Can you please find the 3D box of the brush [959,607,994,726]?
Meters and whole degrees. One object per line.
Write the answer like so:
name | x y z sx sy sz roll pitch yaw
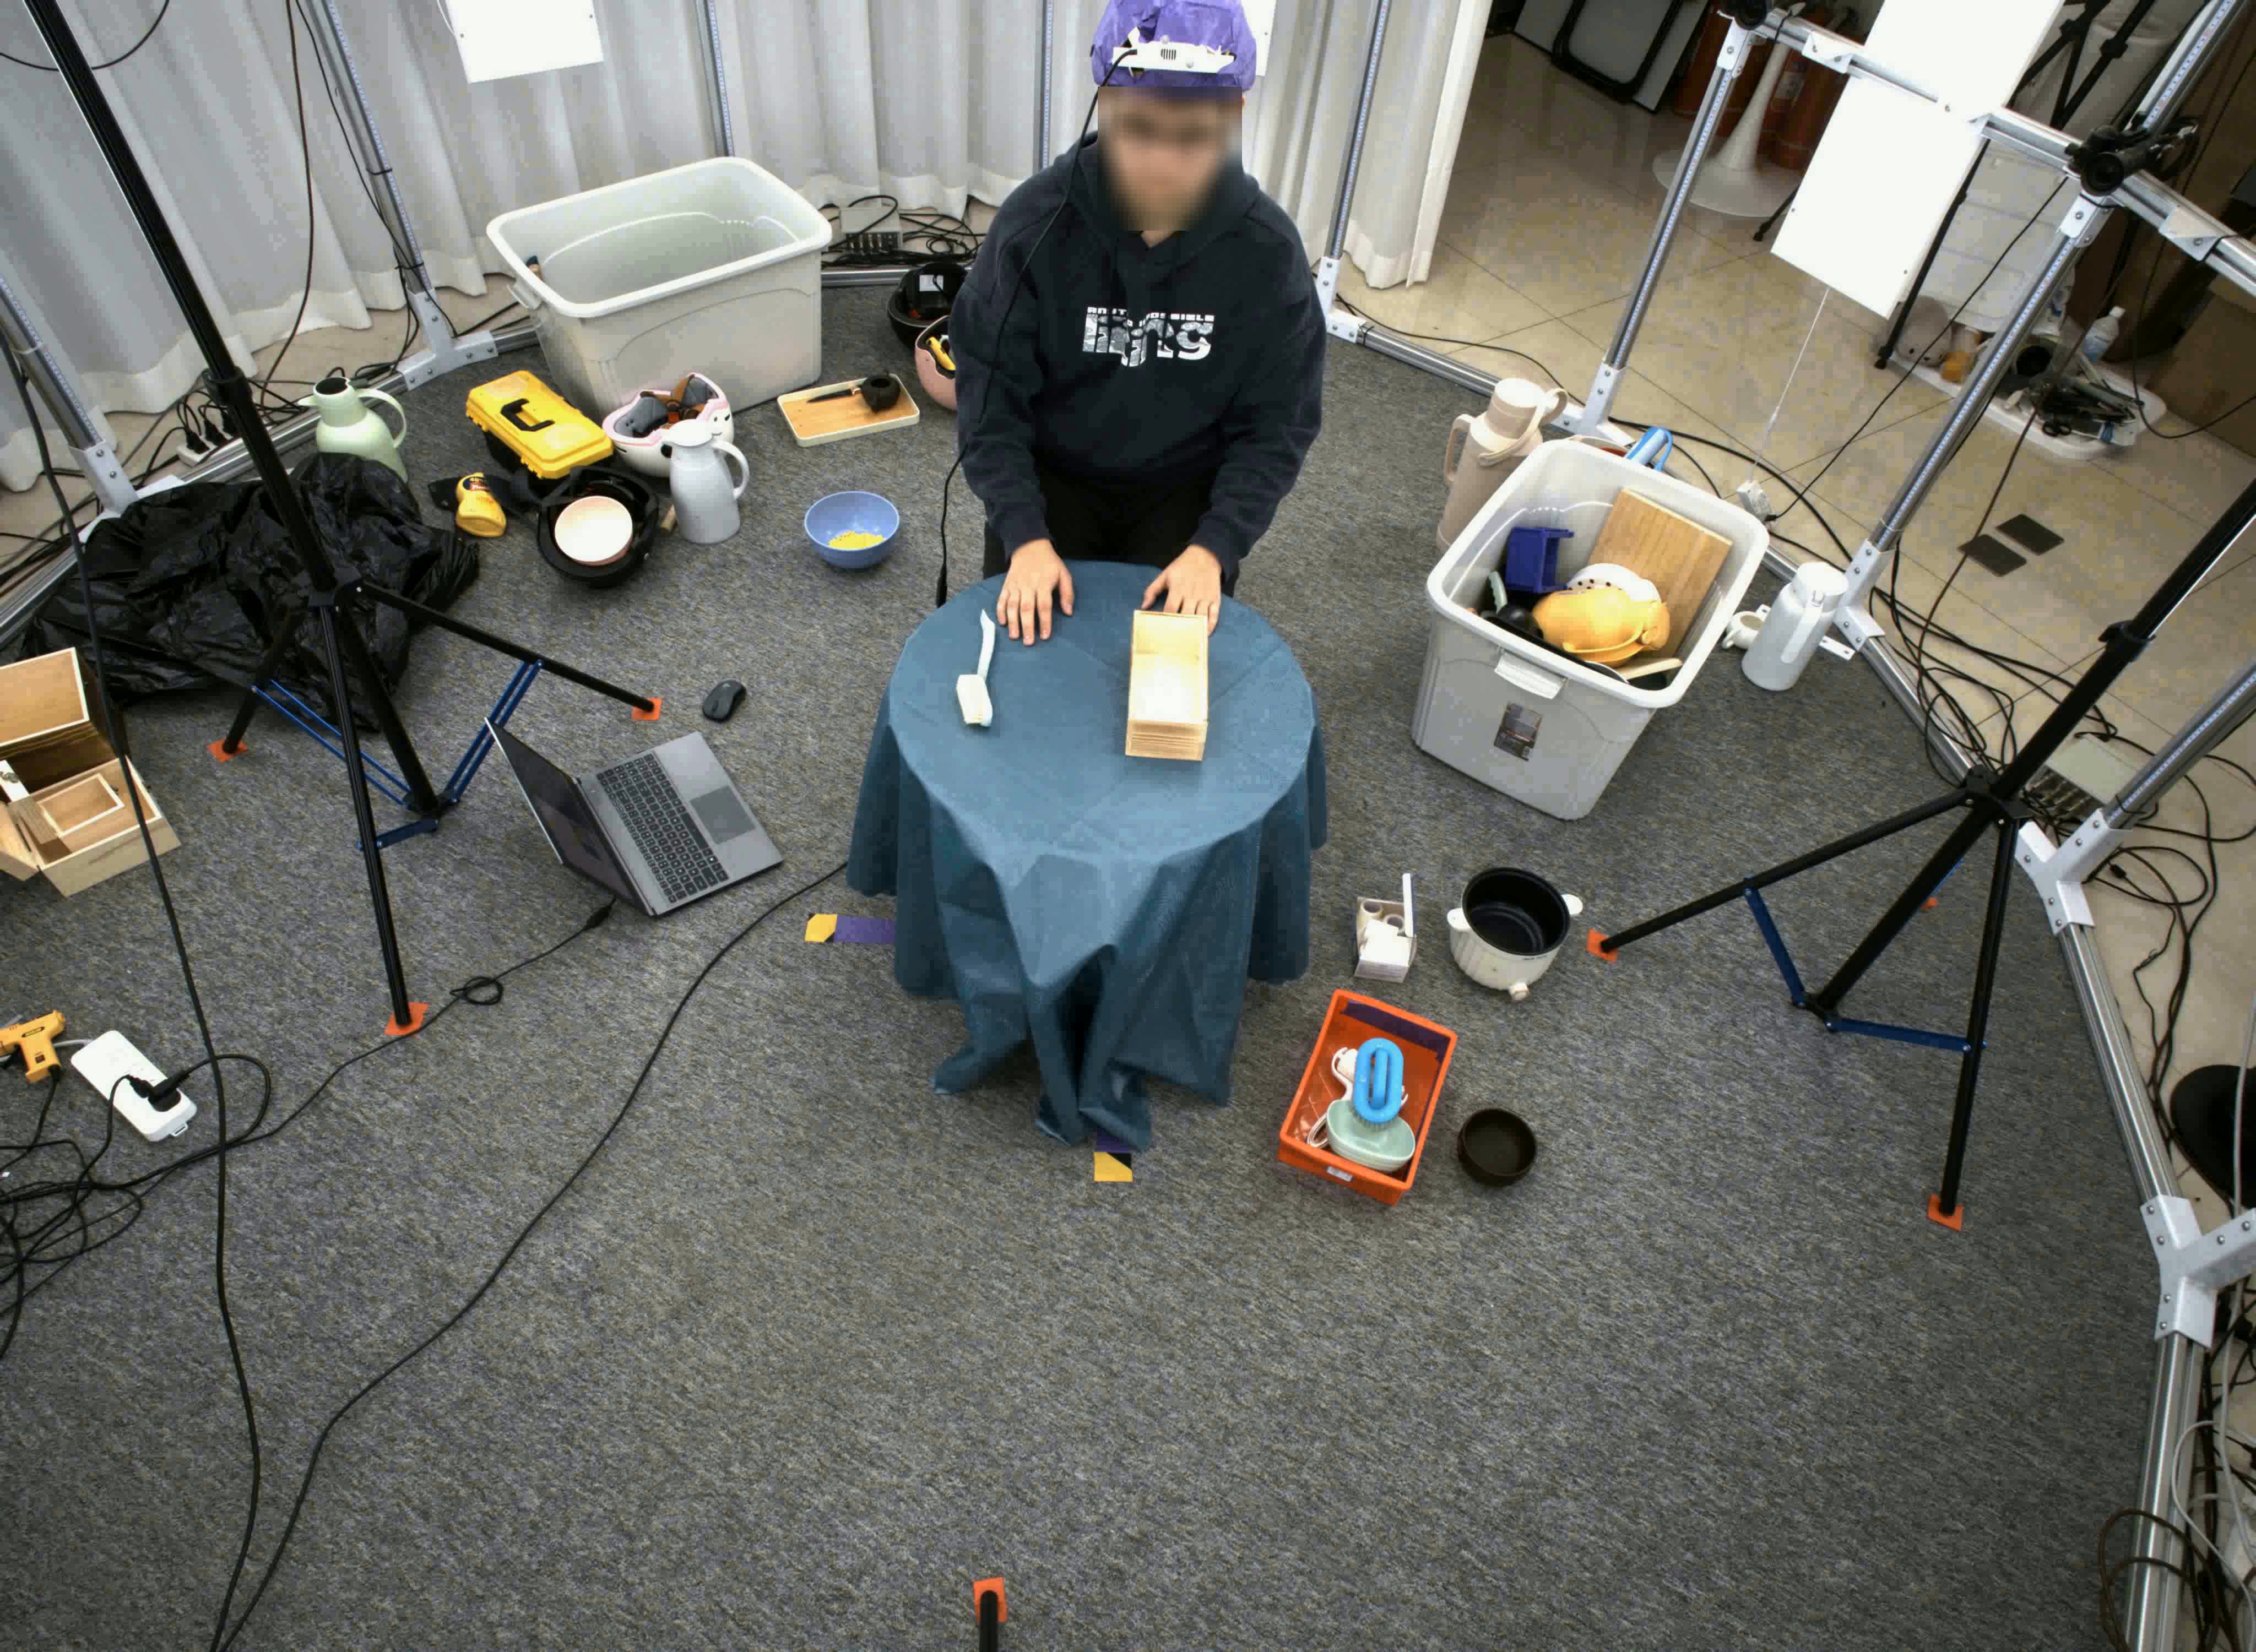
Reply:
brush | -0.213 -0.231 1.825 0.049 0.037 0.234 6 48 -11

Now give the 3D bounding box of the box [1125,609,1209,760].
box | 0.056 -0.199 1.791 0.107 0.078 0.216 4 49 -2
